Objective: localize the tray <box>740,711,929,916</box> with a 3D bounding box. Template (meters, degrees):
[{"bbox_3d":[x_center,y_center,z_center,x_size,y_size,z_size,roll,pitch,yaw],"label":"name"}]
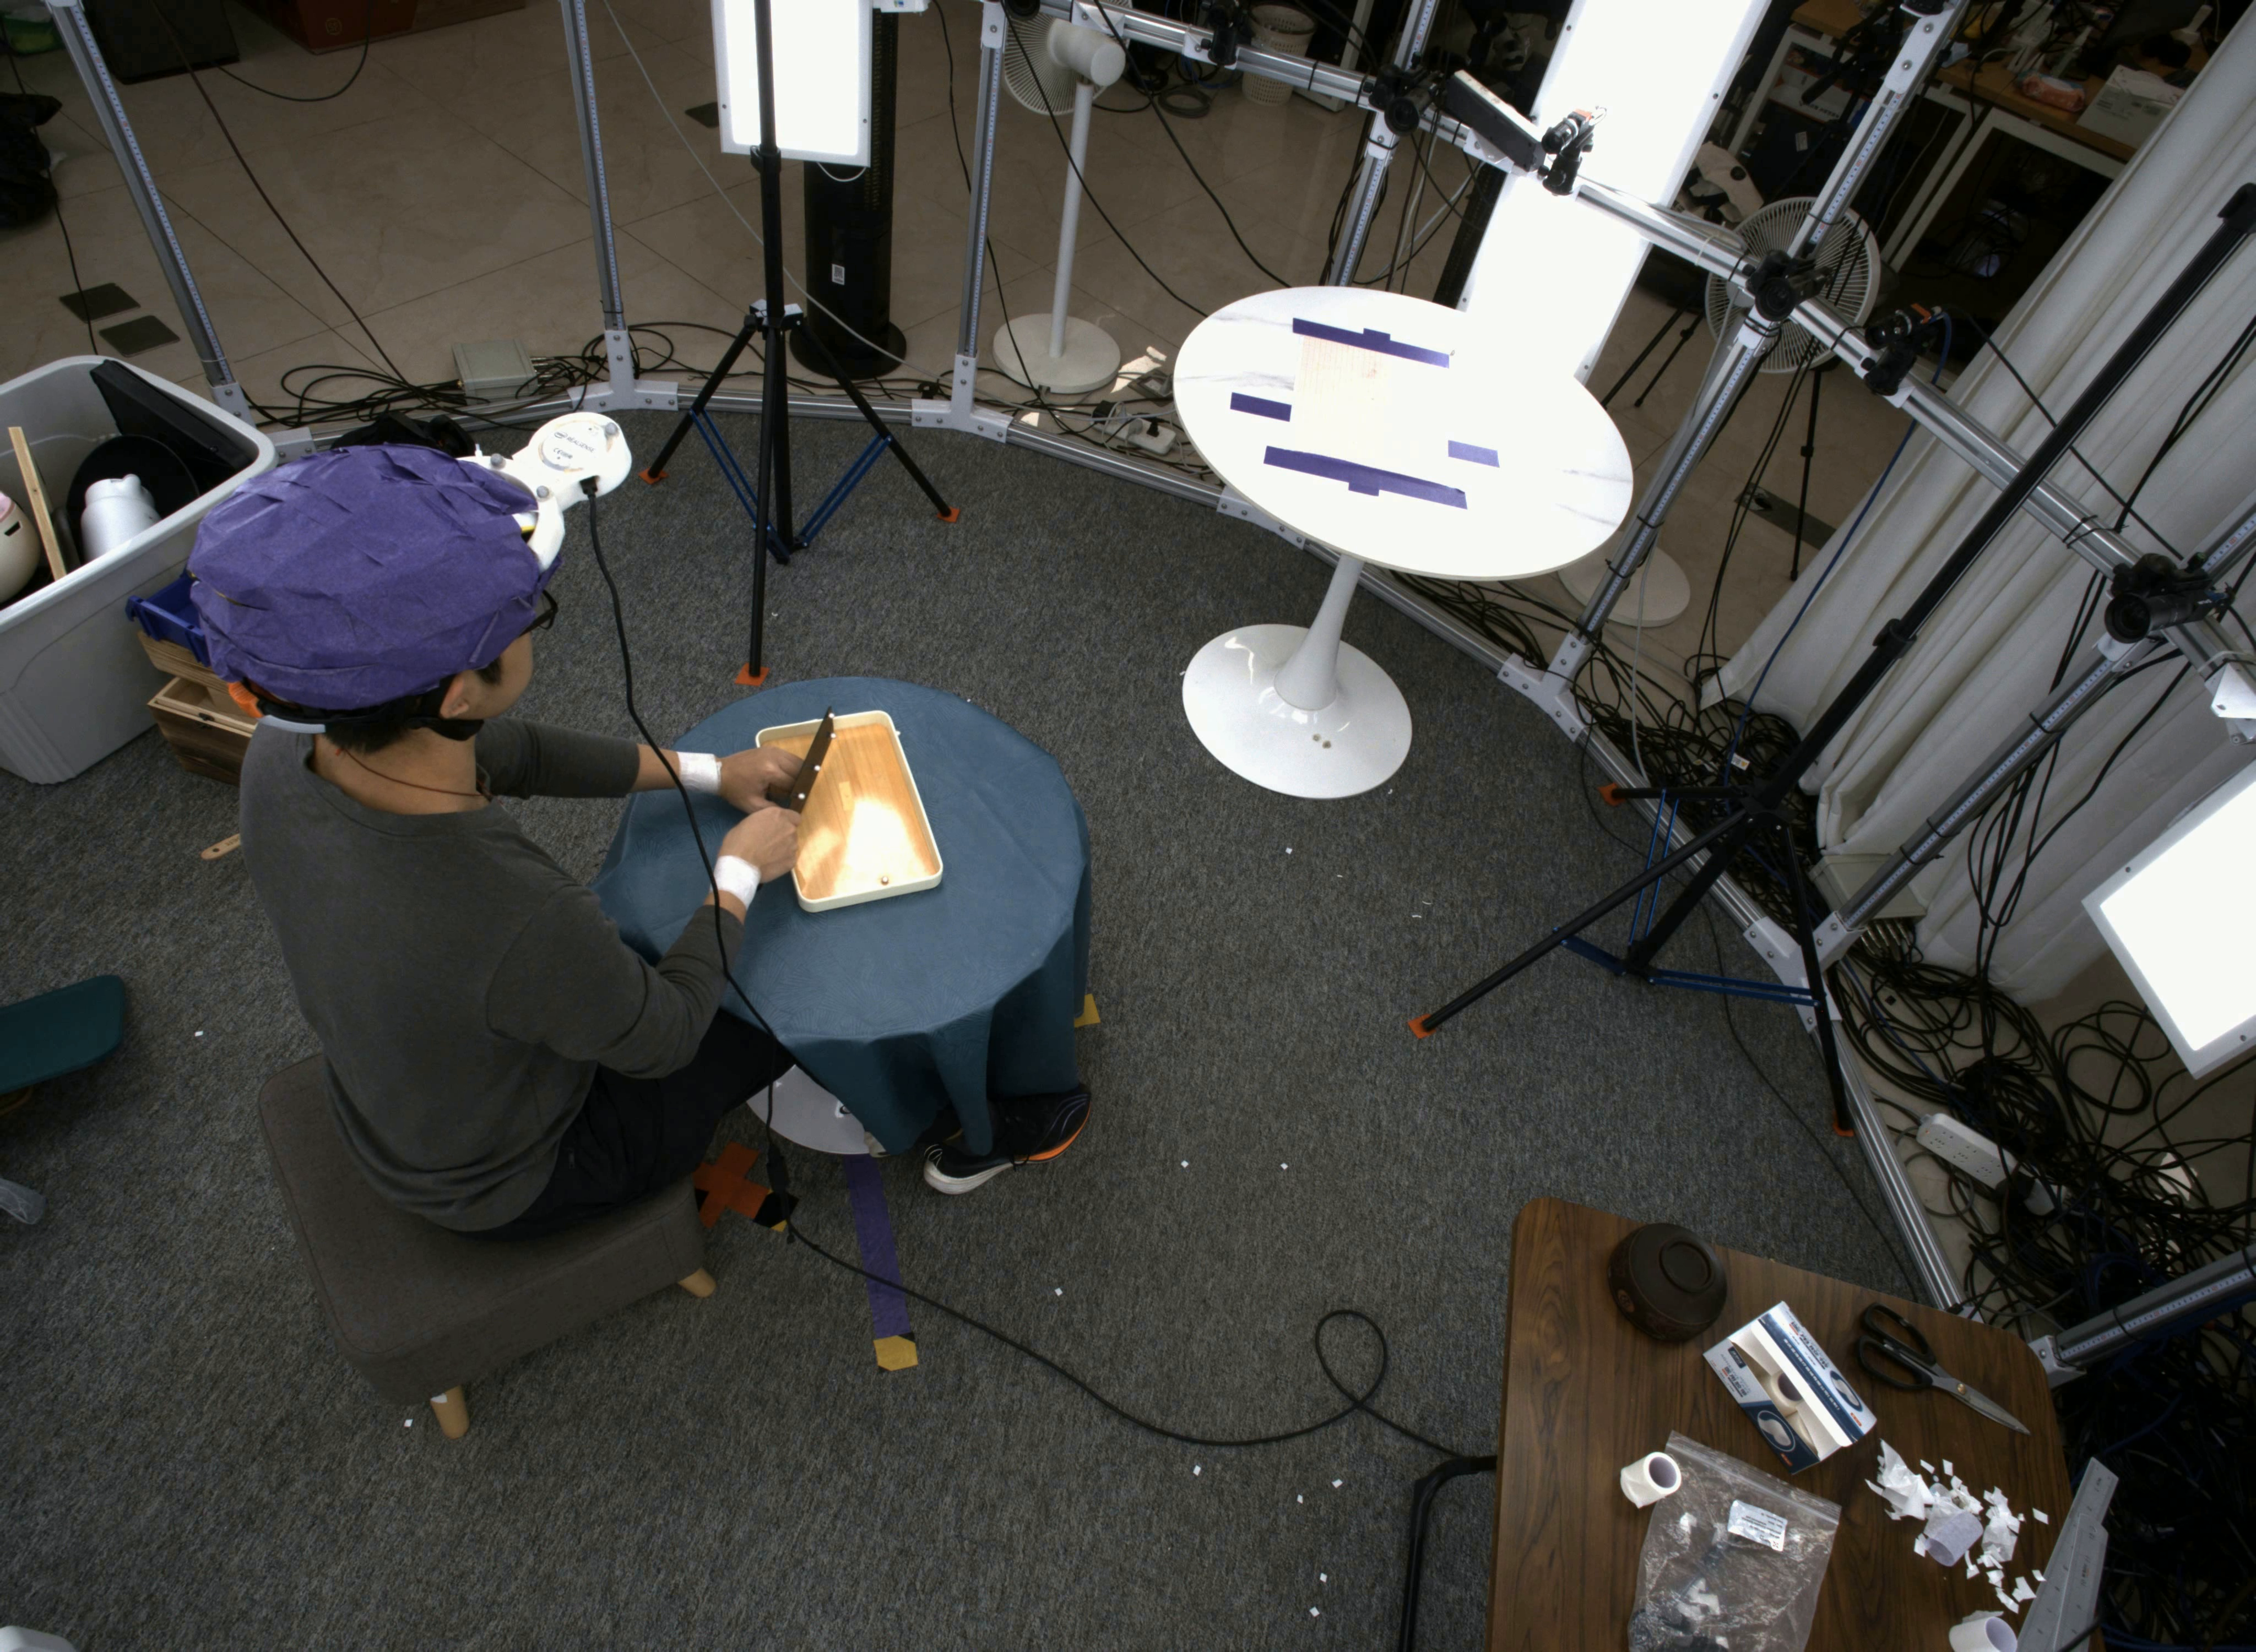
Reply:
[{"bbox_3d":[-0.397,-0.025,1.743,0.192,0.028,0.293,-12,58,-22],"label":"tray"}]

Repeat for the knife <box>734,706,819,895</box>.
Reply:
[{"bbox_3d":[-0.452,-0.033,1.685,0.020,0.083,0.298,10,48,3],"label":"knife"}]
